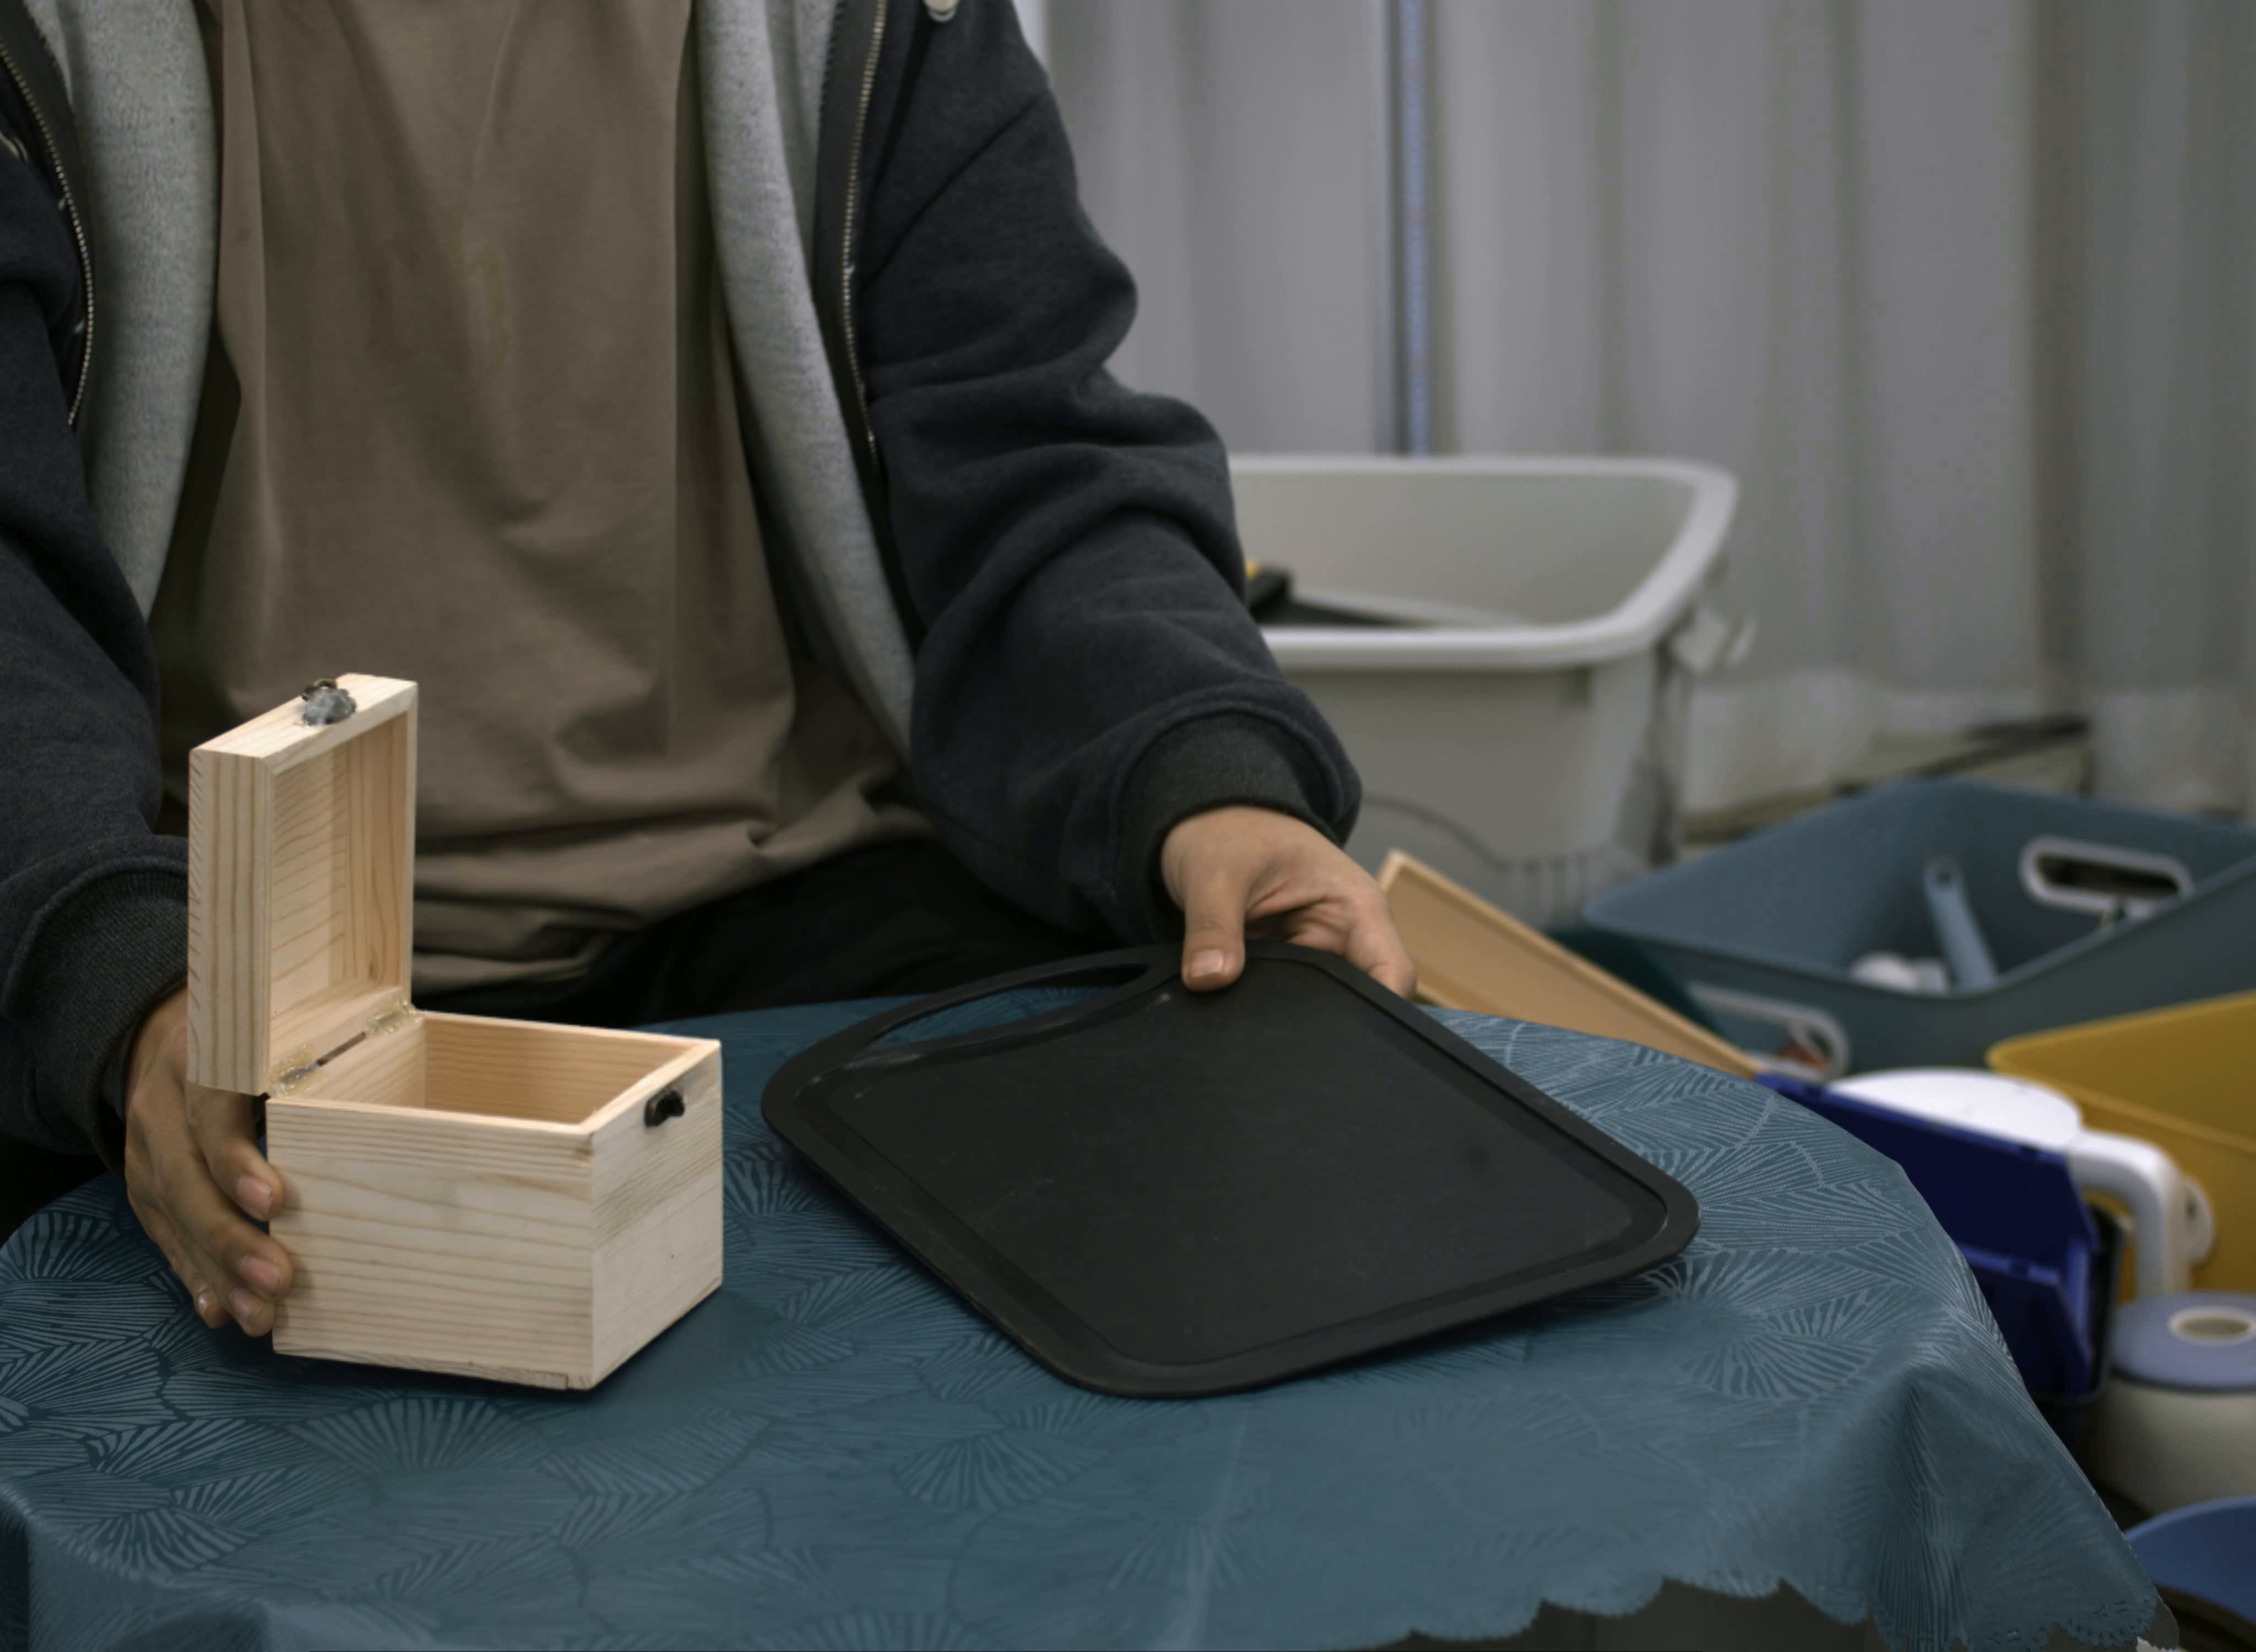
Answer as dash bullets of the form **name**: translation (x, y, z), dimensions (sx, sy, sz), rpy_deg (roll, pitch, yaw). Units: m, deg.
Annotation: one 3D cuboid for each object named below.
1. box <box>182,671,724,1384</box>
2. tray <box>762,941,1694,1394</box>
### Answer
- **box**: translation (-0.193, 0.055, 1.597), dimensions (0.134, 0.184, 0.103), rpy_deg (3, 13, 17)
- **tray**: translation (0.020, 0.097, 1.701), dimensions (0.210, 0.010, 0.328), rpy_deg (-14, 22, -21)
